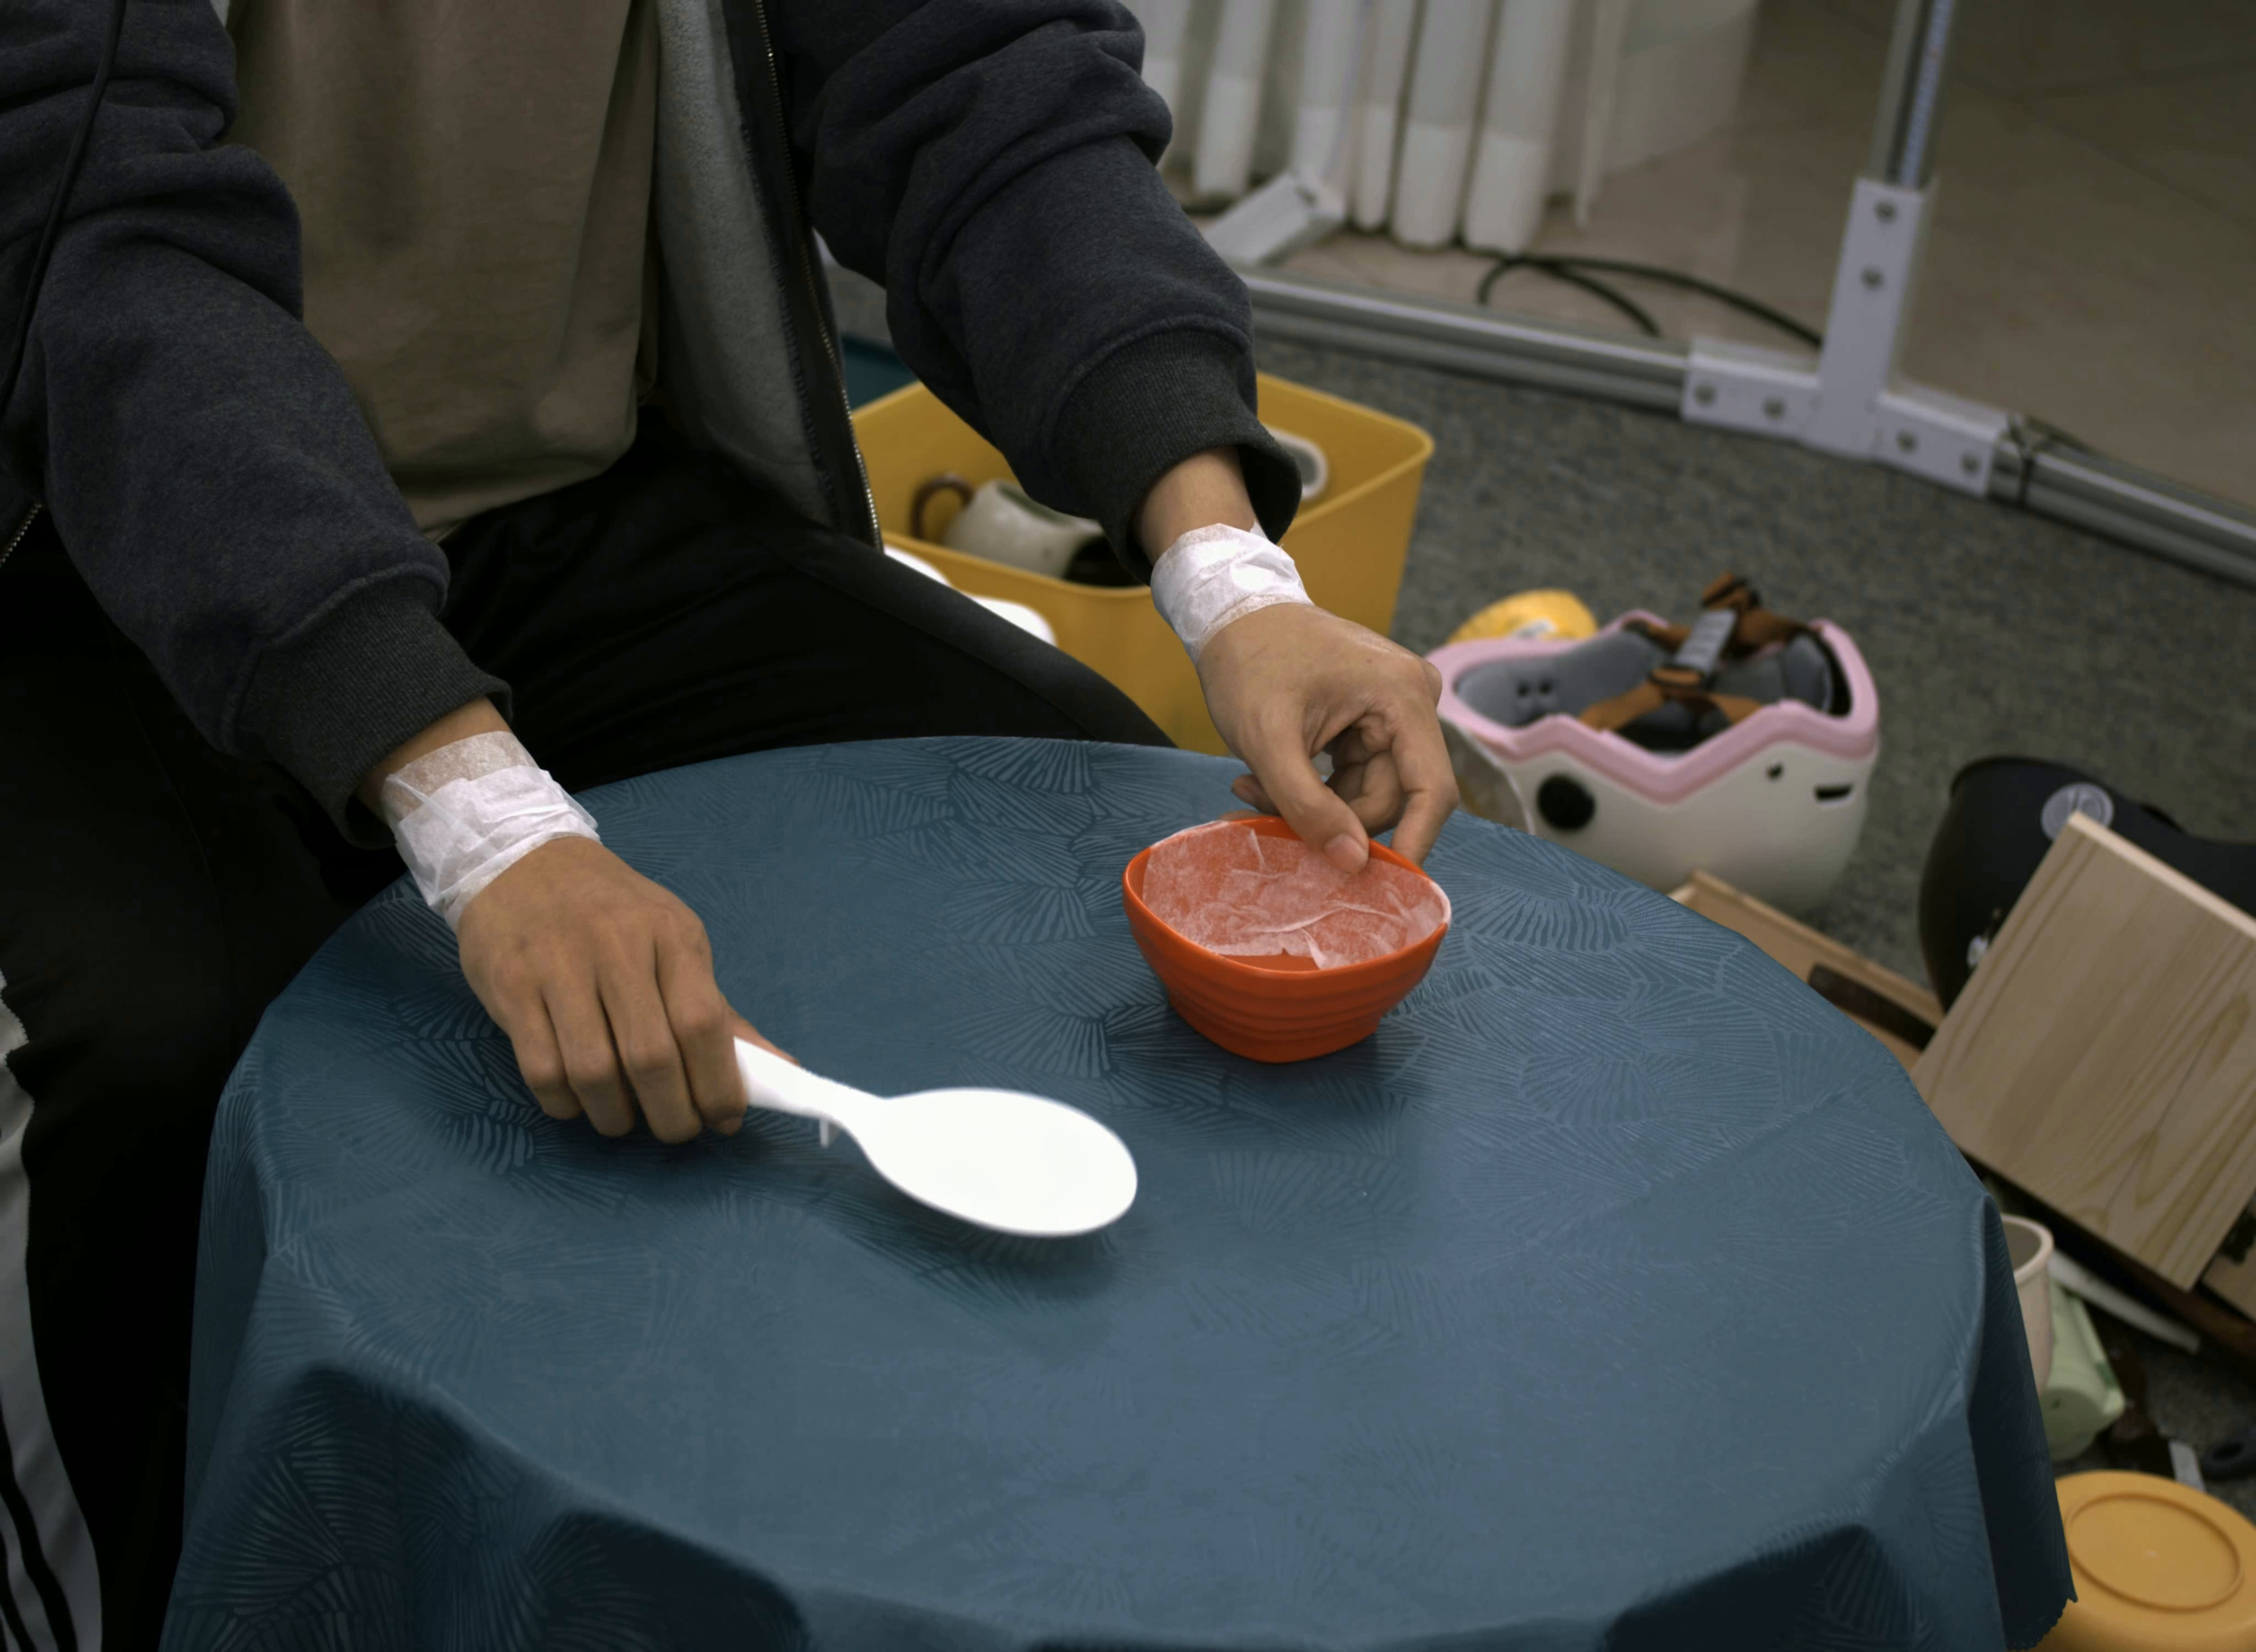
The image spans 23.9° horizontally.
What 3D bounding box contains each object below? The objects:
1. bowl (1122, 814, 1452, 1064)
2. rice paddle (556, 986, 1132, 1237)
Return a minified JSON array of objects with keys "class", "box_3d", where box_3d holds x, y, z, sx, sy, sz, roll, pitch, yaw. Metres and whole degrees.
[{"class":"bowl","box_3d":[0.054,0.044,1.910,0.118,0.051,0.119,5,28,-3]},{"class":"rice paddle","box_3d":[-0.094,0.095,1.783,0.206,0.029,0.069,16,37,17]}]
